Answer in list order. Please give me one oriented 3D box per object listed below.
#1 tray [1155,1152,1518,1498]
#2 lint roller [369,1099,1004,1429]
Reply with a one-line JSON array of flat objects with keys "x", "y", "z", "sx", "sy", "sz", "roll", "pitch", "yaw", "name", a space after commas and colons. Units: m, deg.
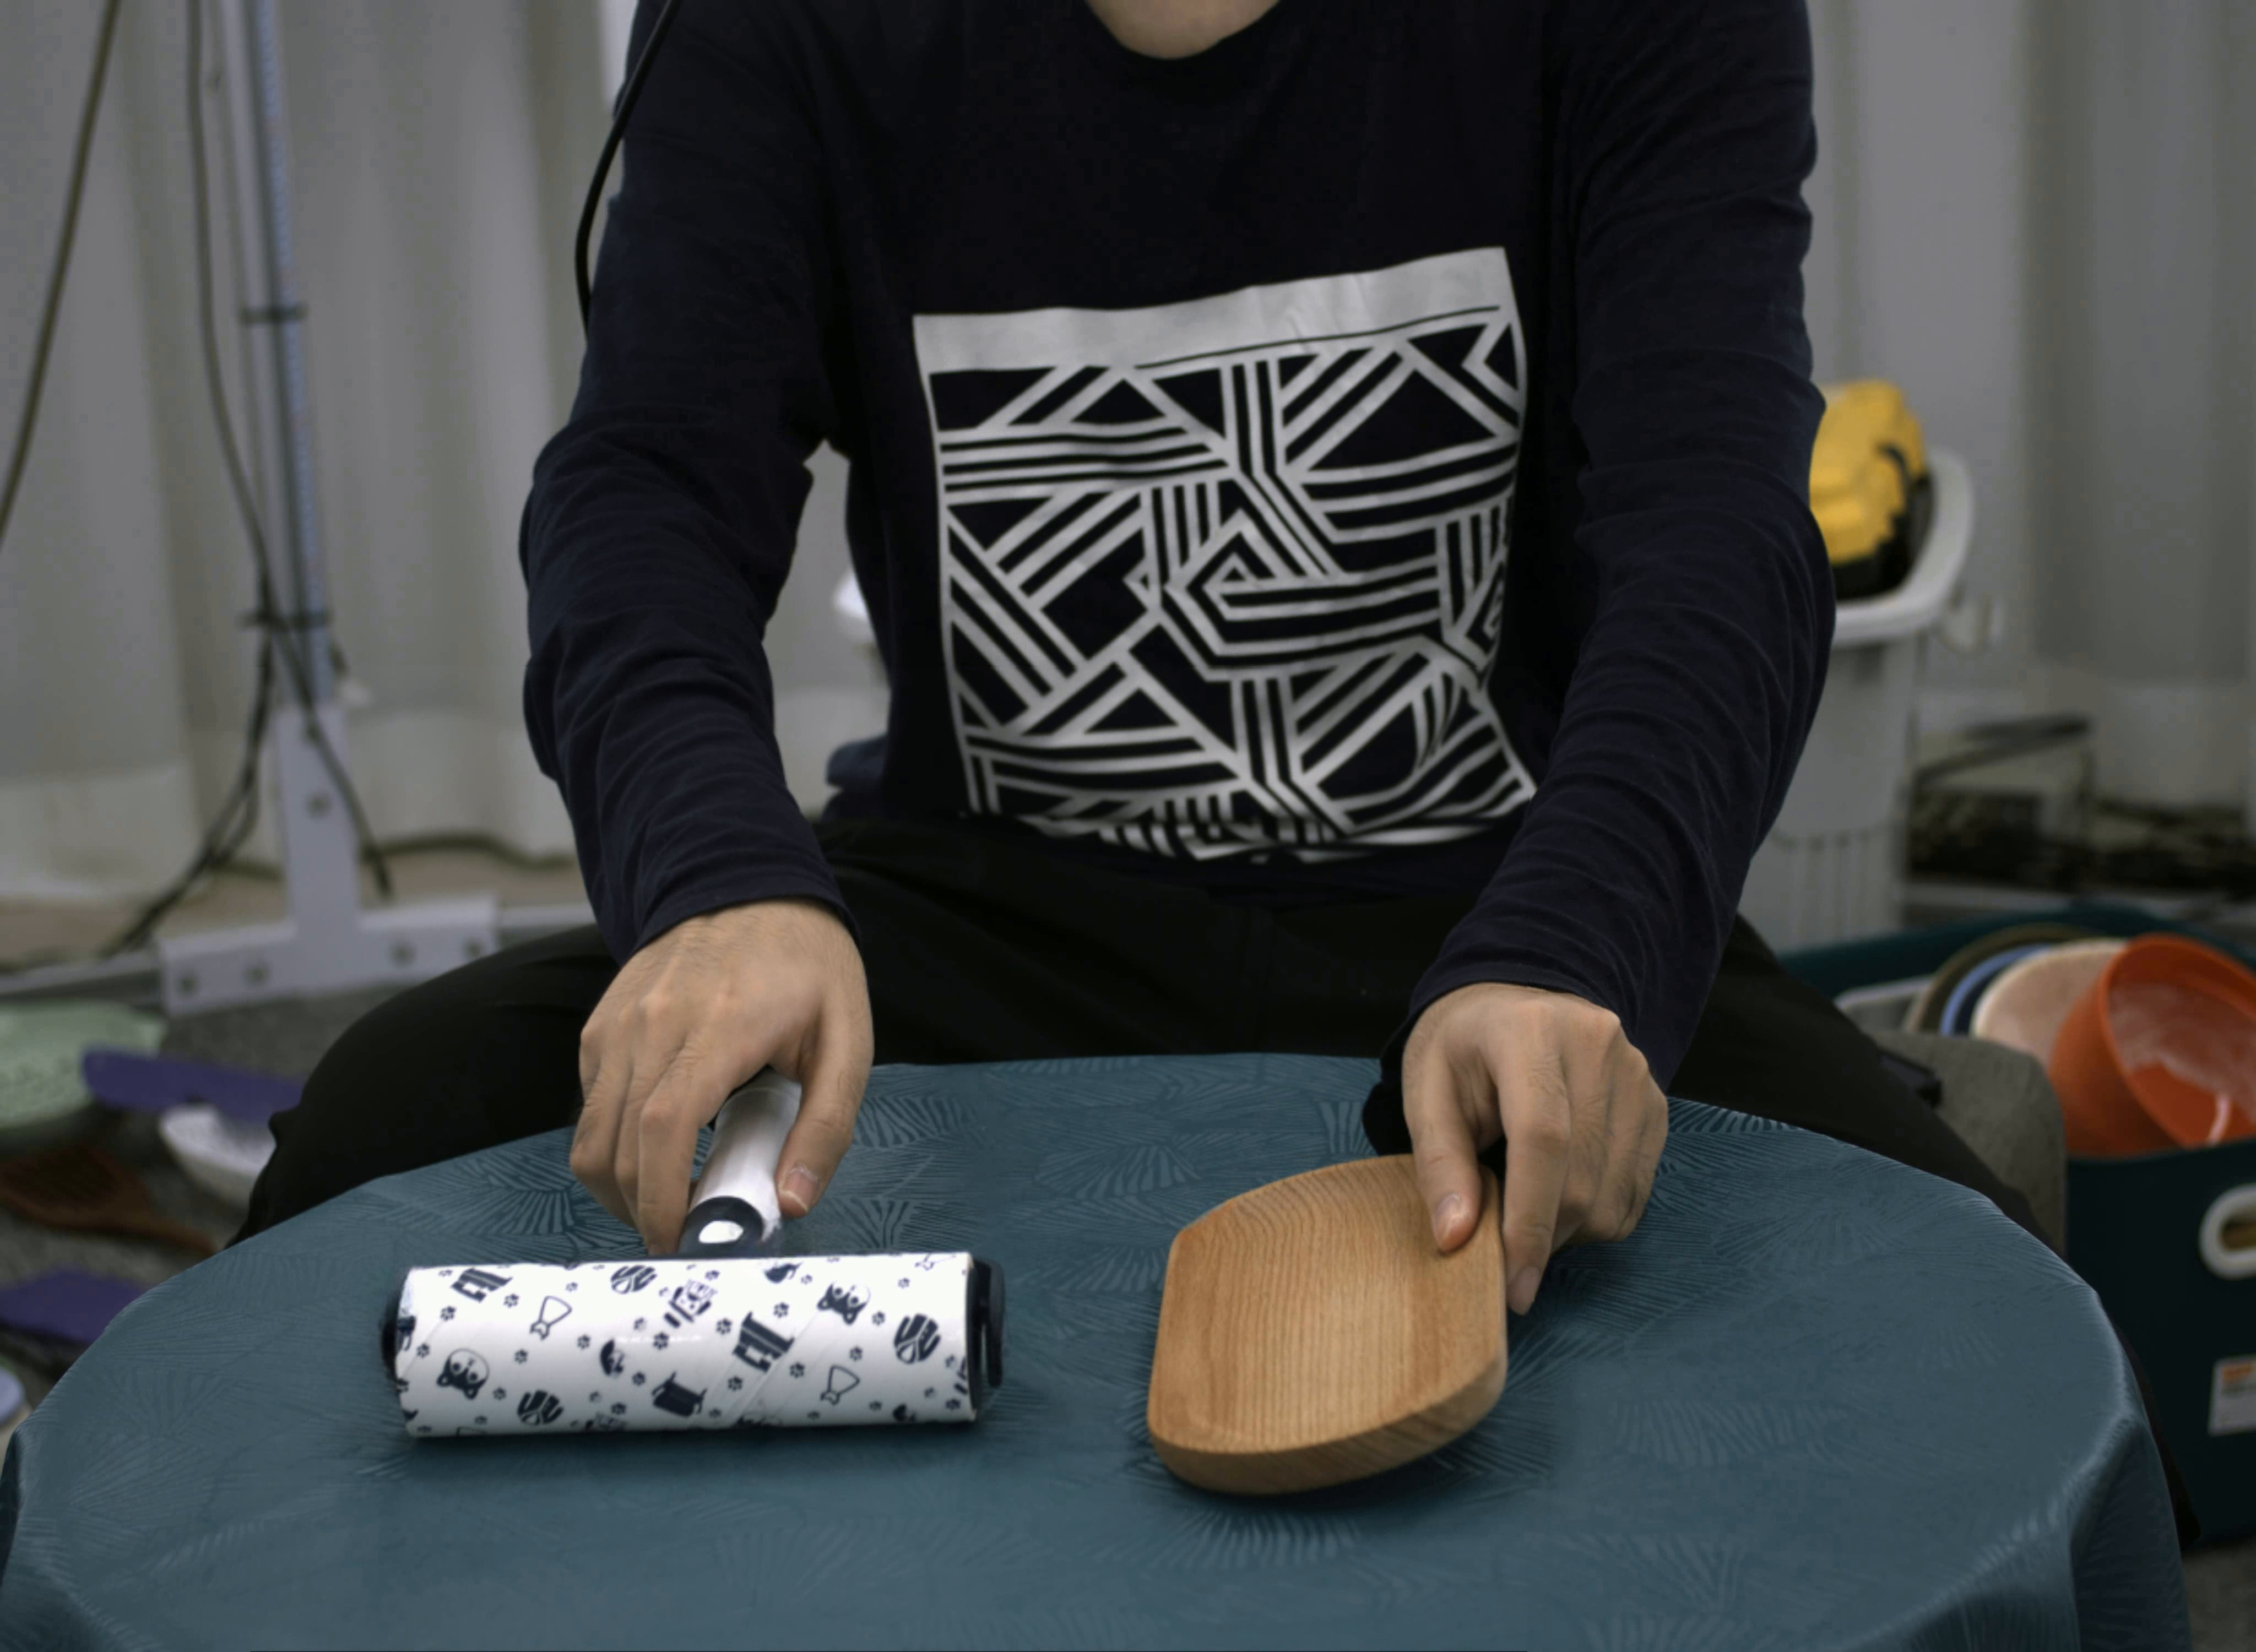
[{"x": 0.060, "y": 0.139, "z": 1.549, "sx": 0.101, "sy": 0.020, "sz": 0.233, "roll": -16, "pitch": 15, "yaw": 6, "name": "tray"}, {"x": -0.120, "y": 0.119, "z": 1.629, "sx": 0.176, "sy": 0.050, "sz": 0.248, "roll": -3, "pitch": 14, "yaw": 3, "name": "lint roller"}]
